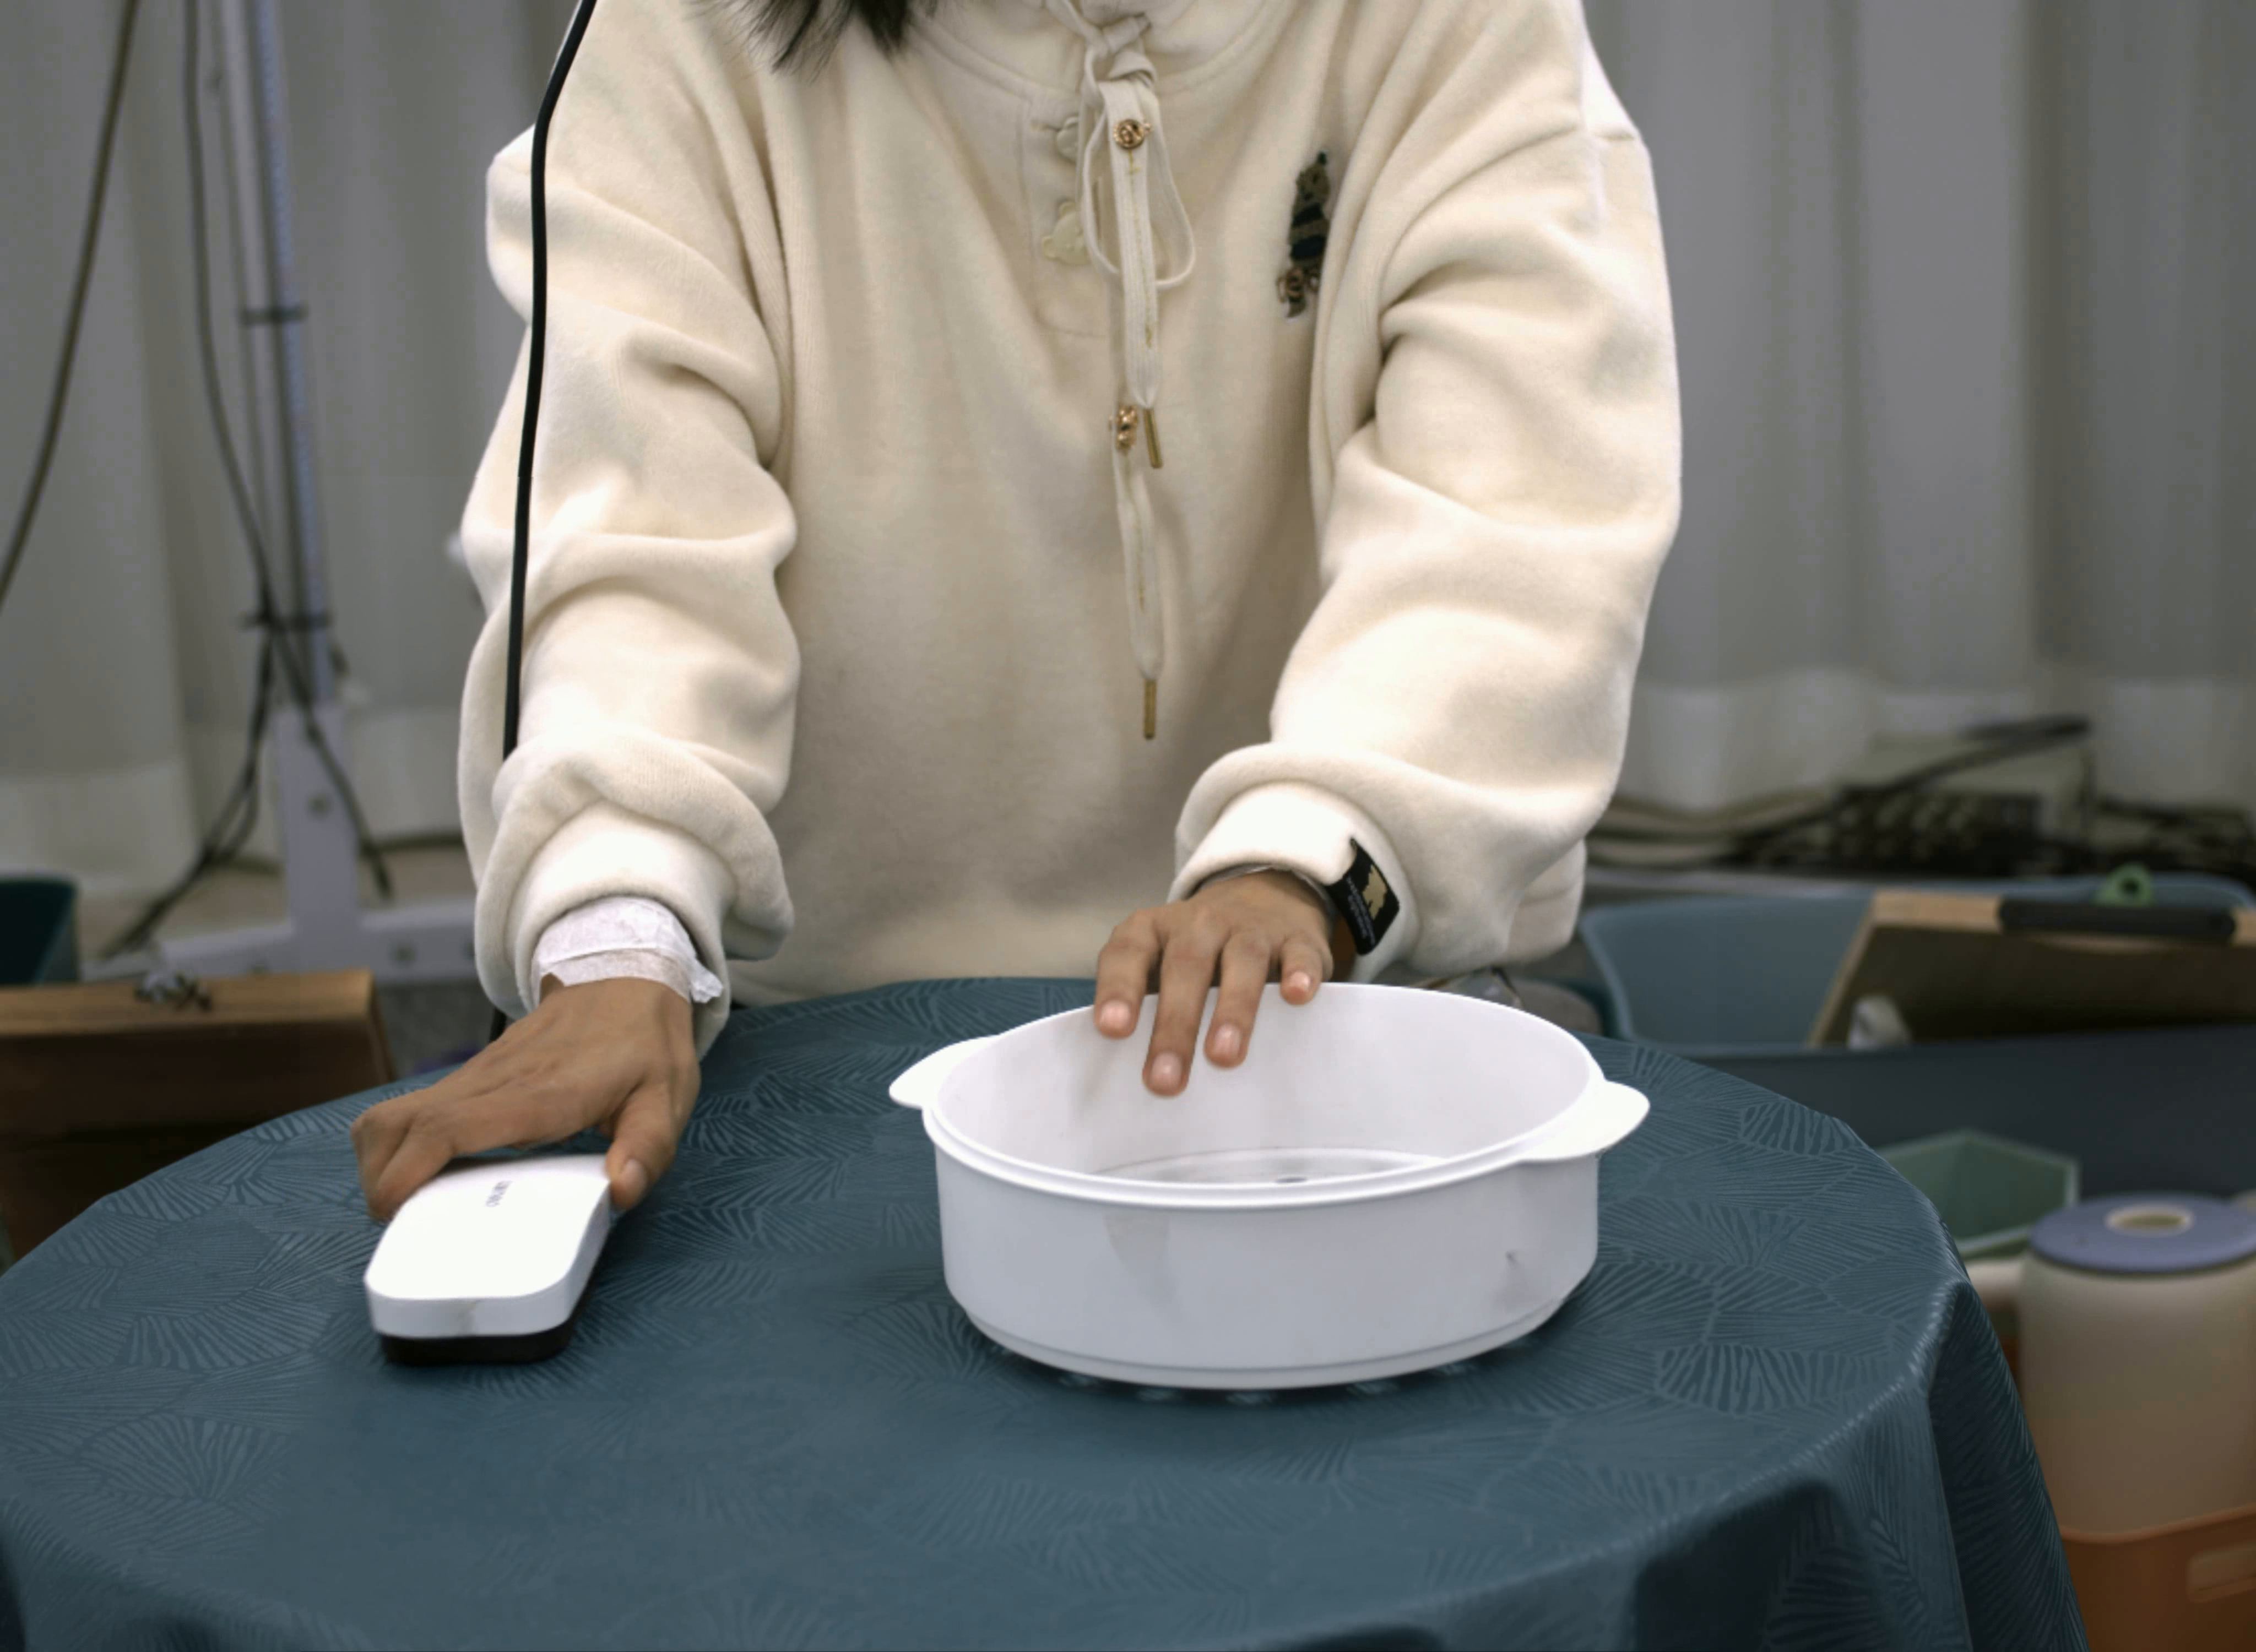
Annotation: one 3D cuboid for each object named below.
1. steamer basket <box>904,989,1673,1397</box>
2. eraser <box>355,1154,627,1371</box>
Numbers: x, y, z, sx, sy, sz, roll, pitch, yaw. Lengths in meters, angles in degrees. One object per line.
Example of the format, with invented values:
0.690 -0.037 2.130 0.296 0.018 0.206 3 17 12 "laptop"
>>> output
0.046 0.107 1.606 0.231 0.069 0.202 4 16 23 "steamer basket"
-0.188 0.127 1.646 0.063 0.034 0.132 -2 15 8 "eraser"
